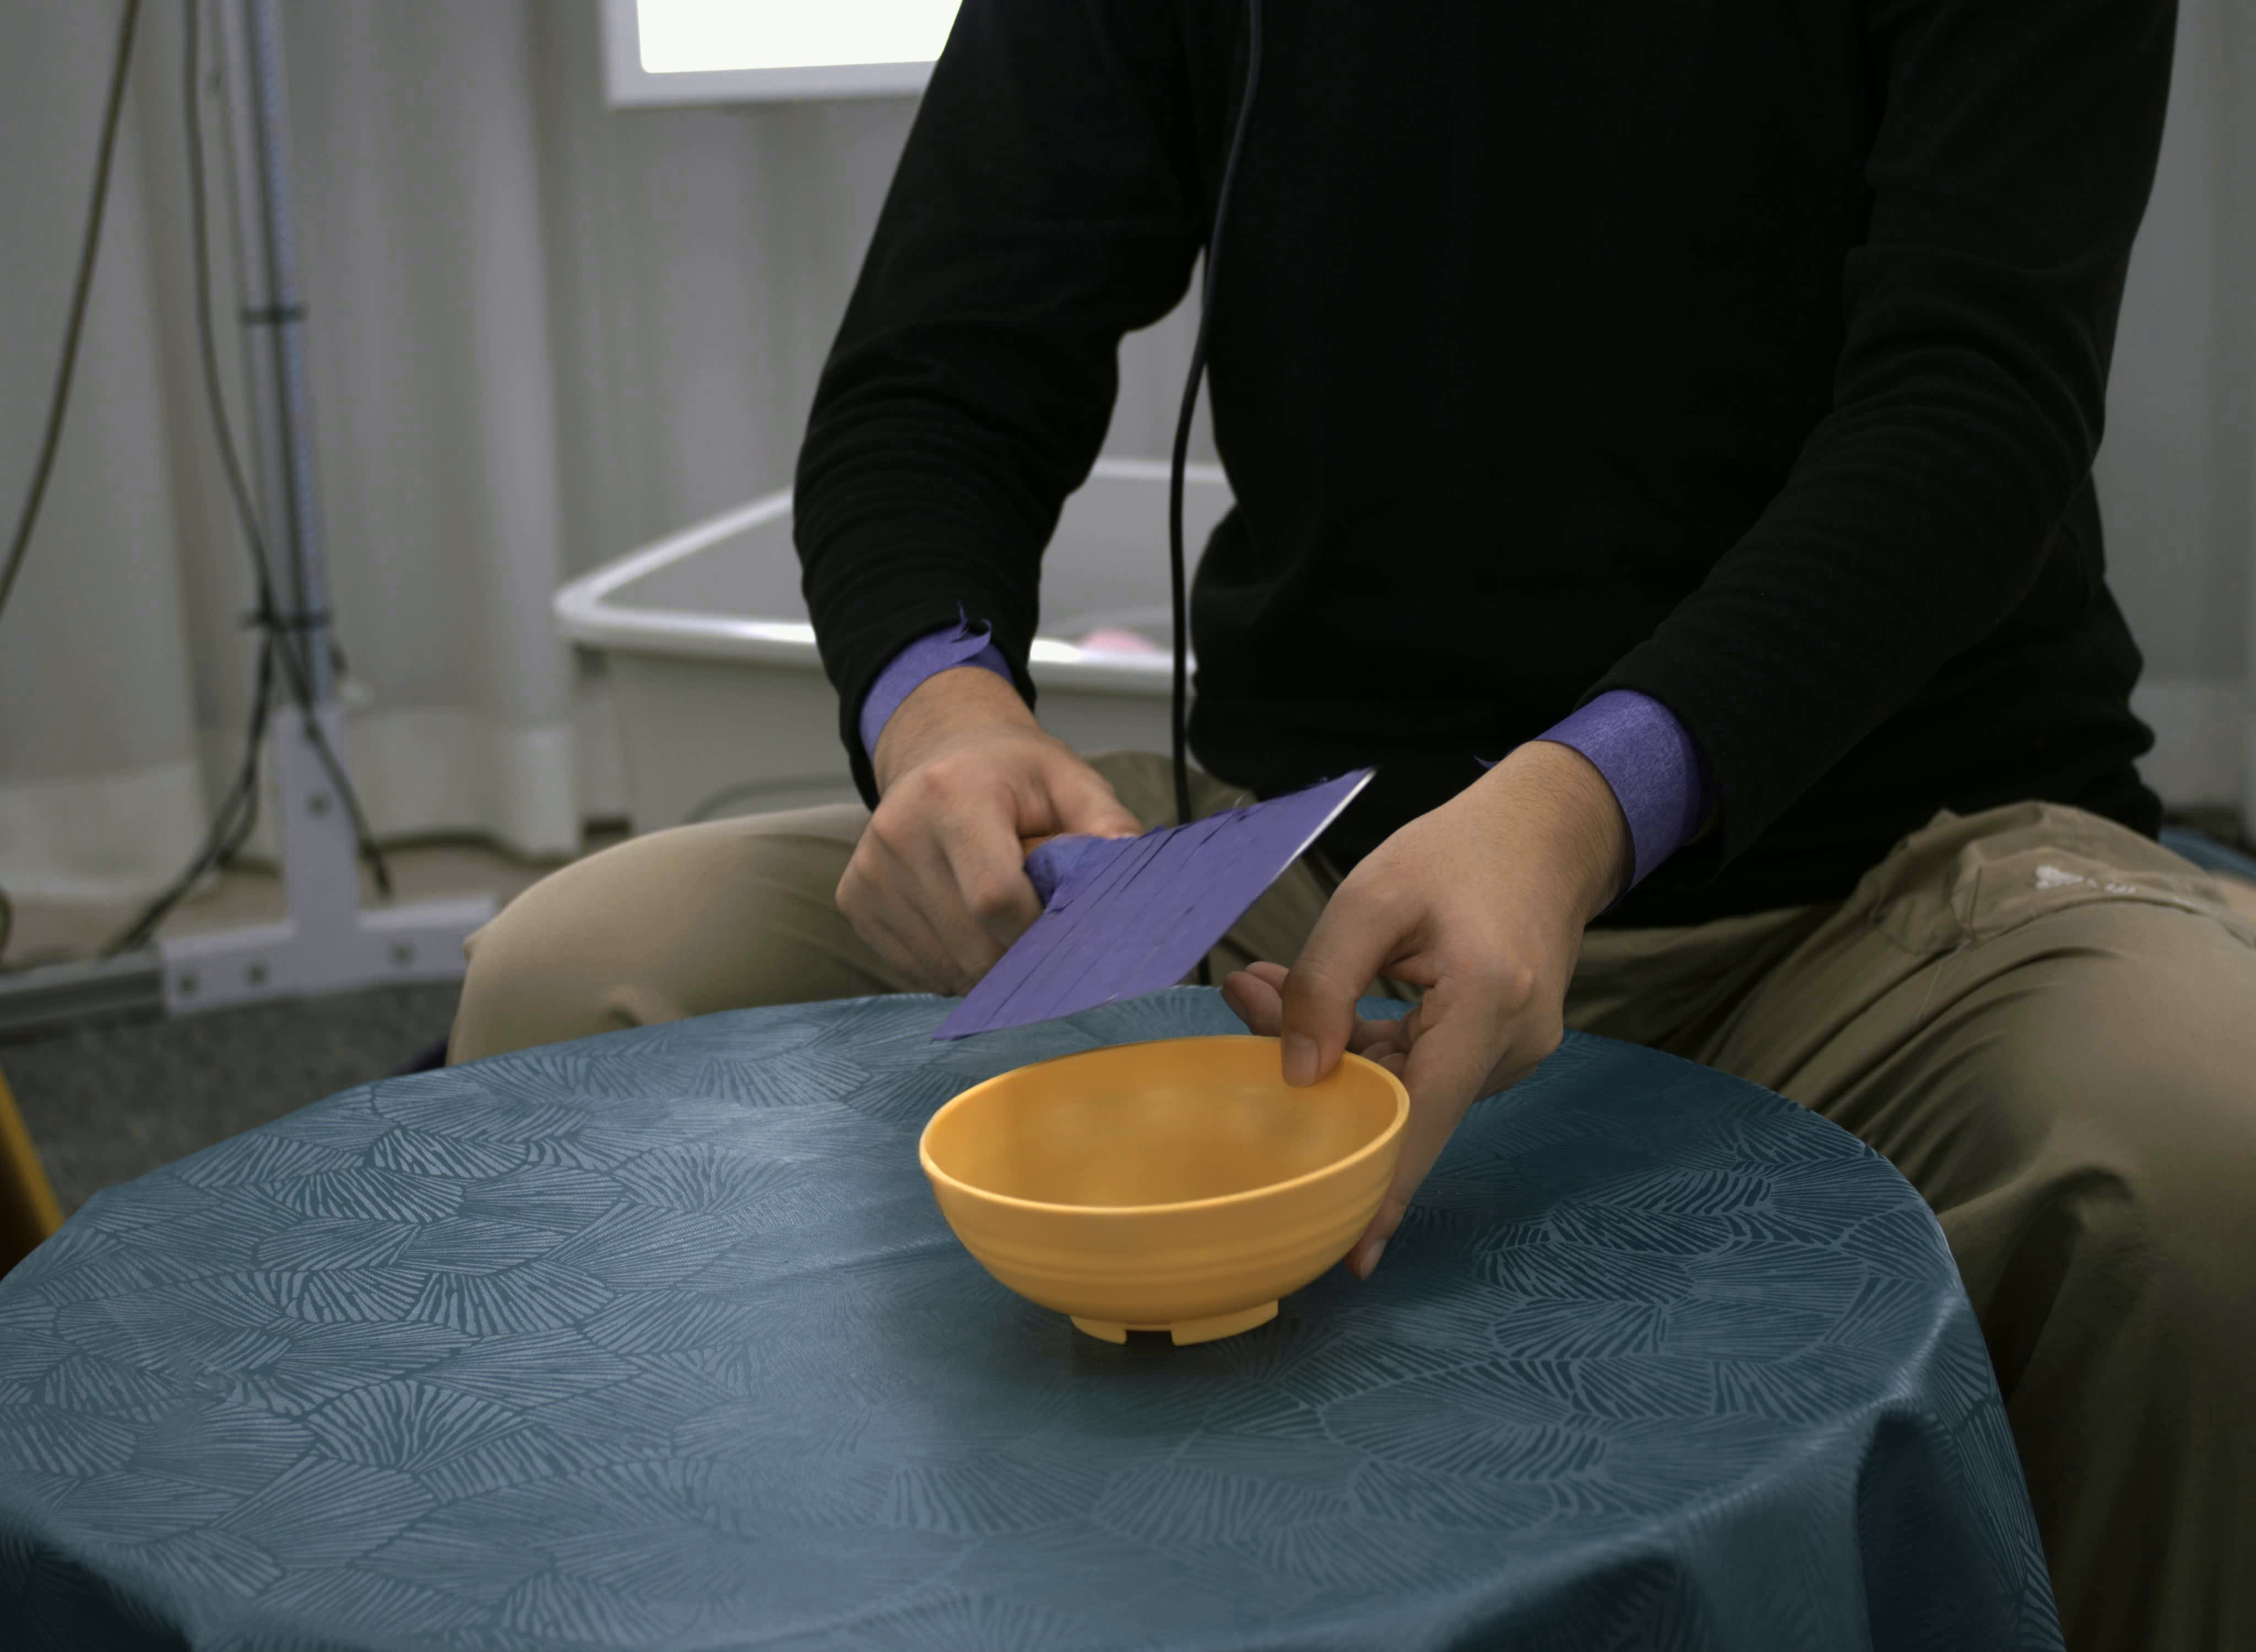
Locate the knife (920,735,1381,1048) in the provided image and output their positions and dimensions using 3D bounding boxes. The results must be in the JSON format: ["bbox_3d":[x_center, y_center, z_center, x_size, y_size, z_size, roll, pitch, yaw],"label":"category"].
[{"bbox_3d":[-0.019,0.029,1.680,0.104,0.032,0.315,-45,9,-21],"label":"knife"}]

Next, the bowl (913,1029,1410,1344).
[{"bbox_3d":[0.011,0.112,1.599,0.145,0.060,0.146,-4,17,1],"label":"bowl"}]
